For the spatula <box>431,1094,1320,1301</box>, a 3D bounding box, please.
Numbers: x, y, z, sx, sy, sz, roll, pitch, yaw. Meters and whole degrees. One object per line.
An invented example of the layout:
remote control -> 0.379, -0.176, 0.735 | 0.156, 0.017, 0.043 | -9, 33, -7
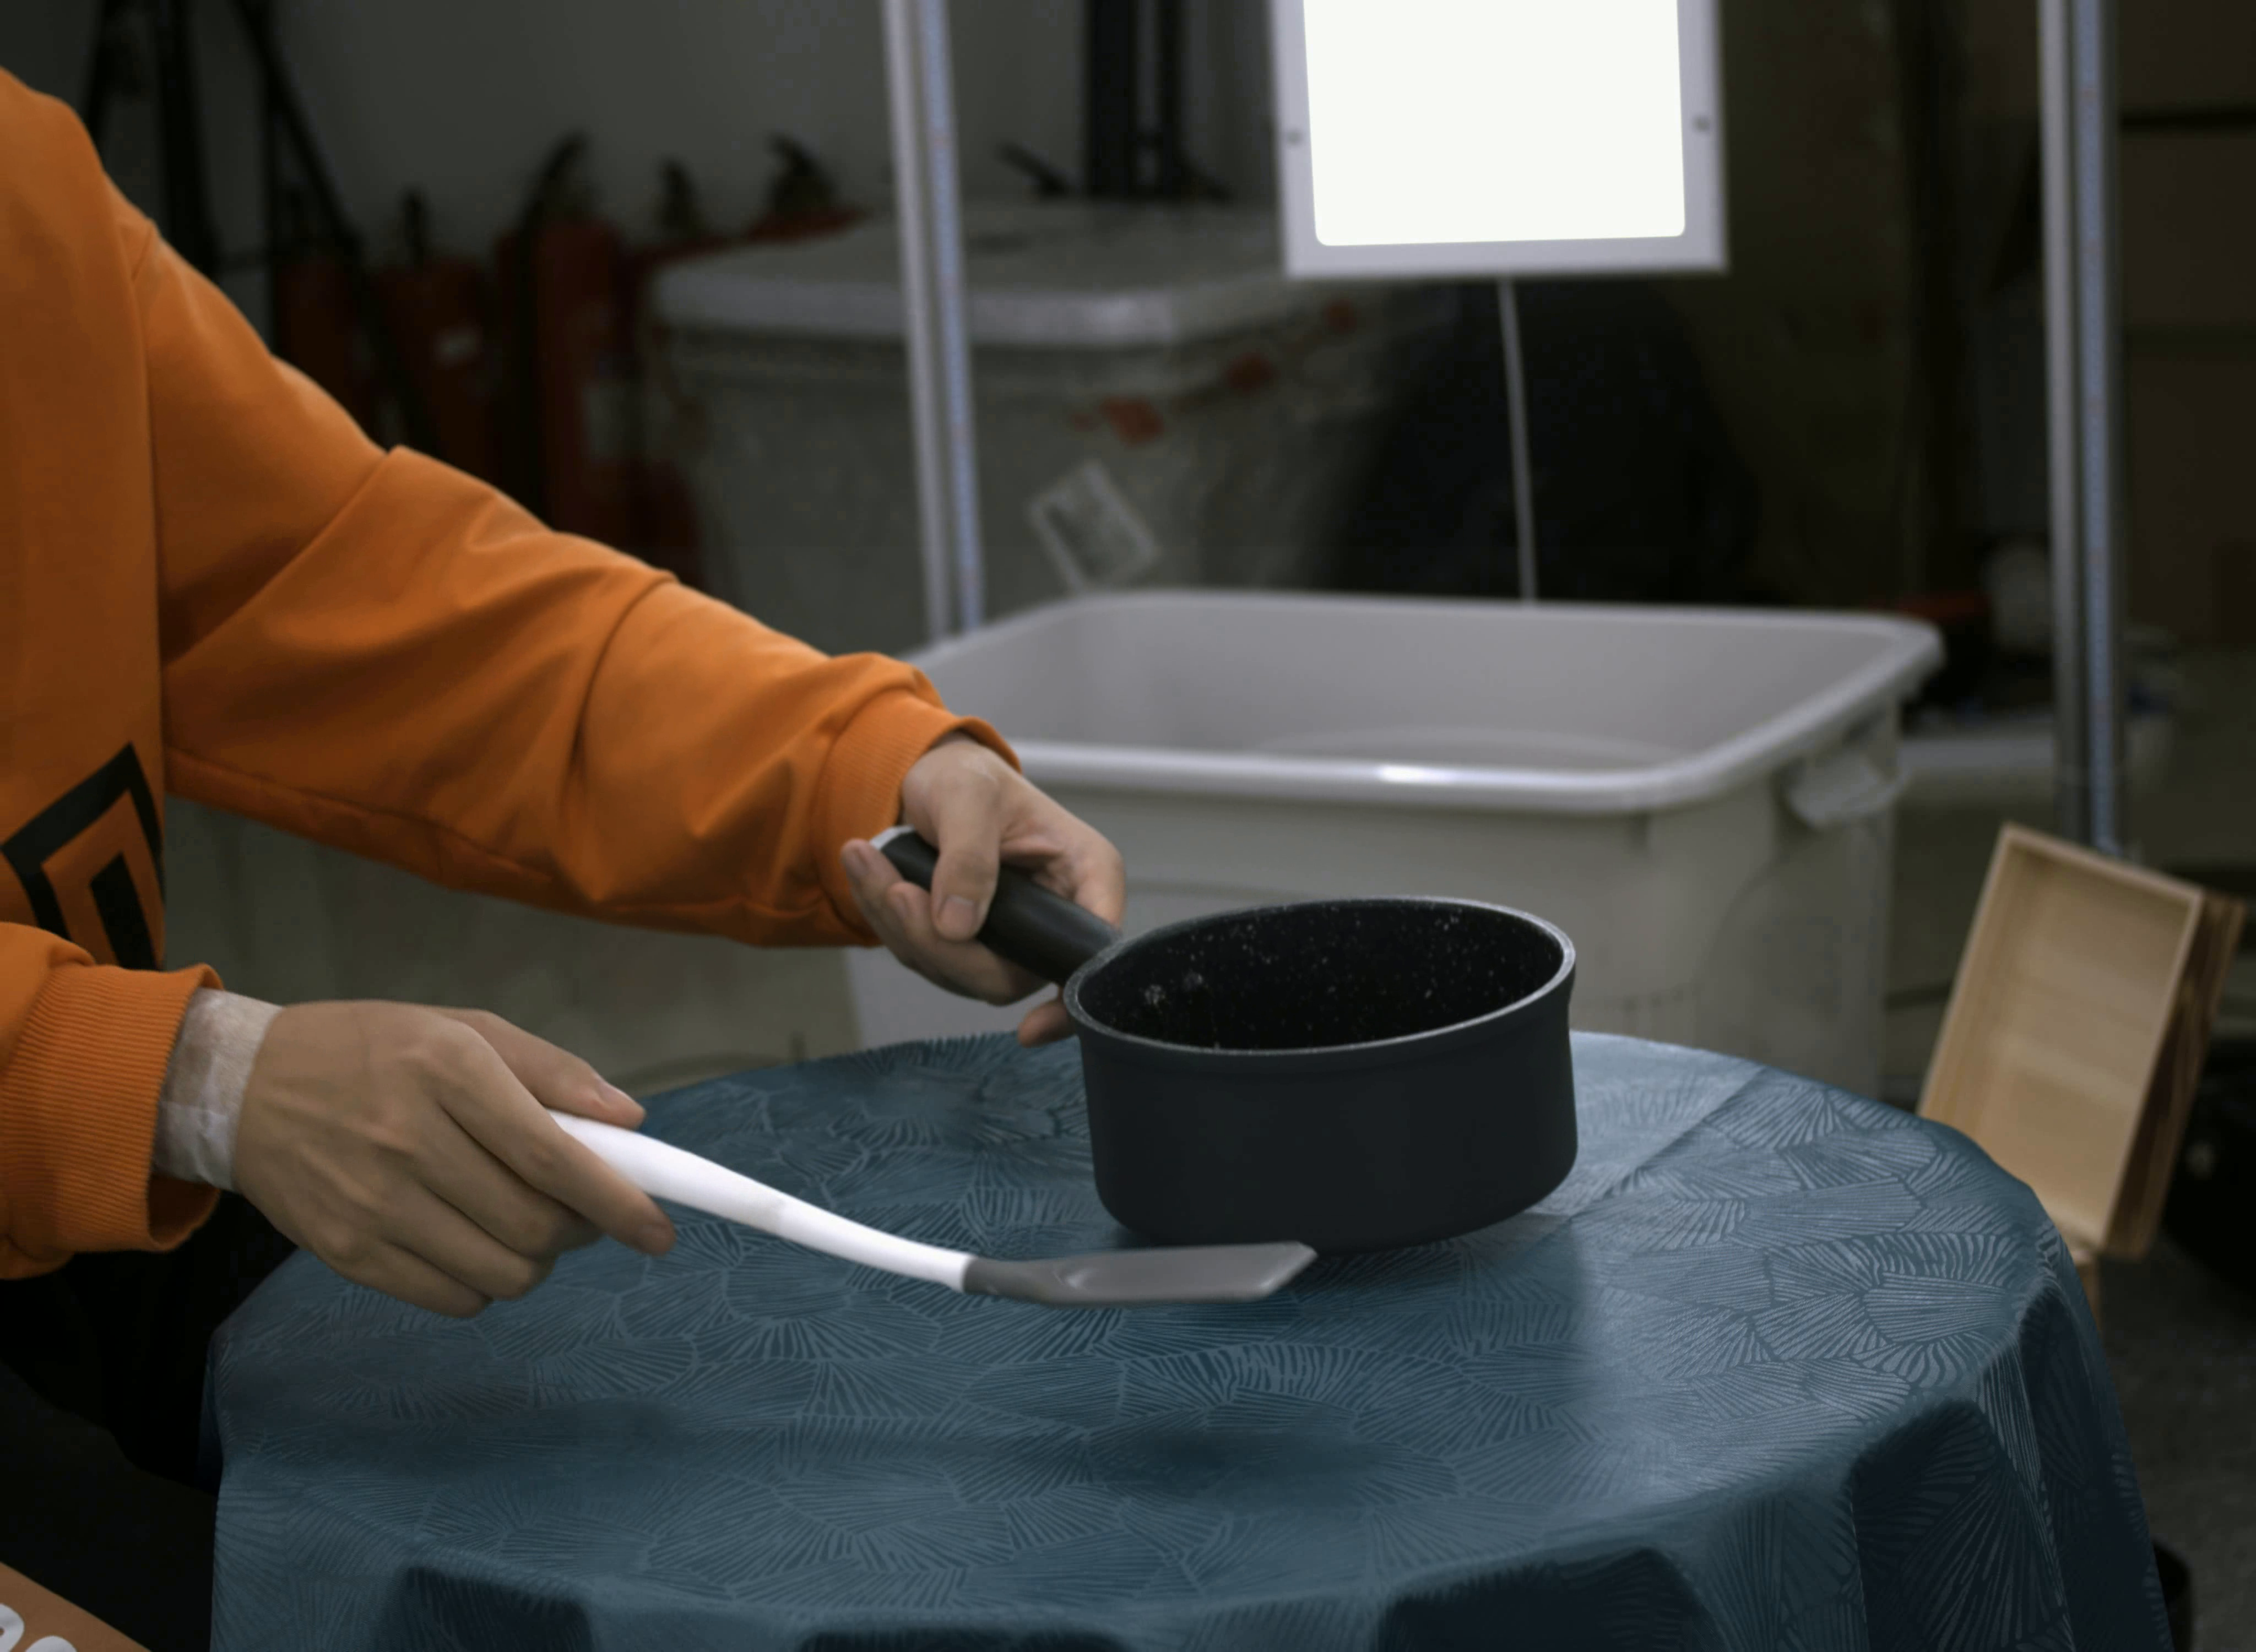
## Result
spatula -> -0.081, 0.119, 1.682 | 0.292, 0.032, 0.057 | 8, 11, 24

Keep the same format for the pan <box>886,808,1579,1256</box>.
pan -> 0.020, 0.066, 1.901 | 0.168, 0.087, 0.335 | -15, 19, -32
